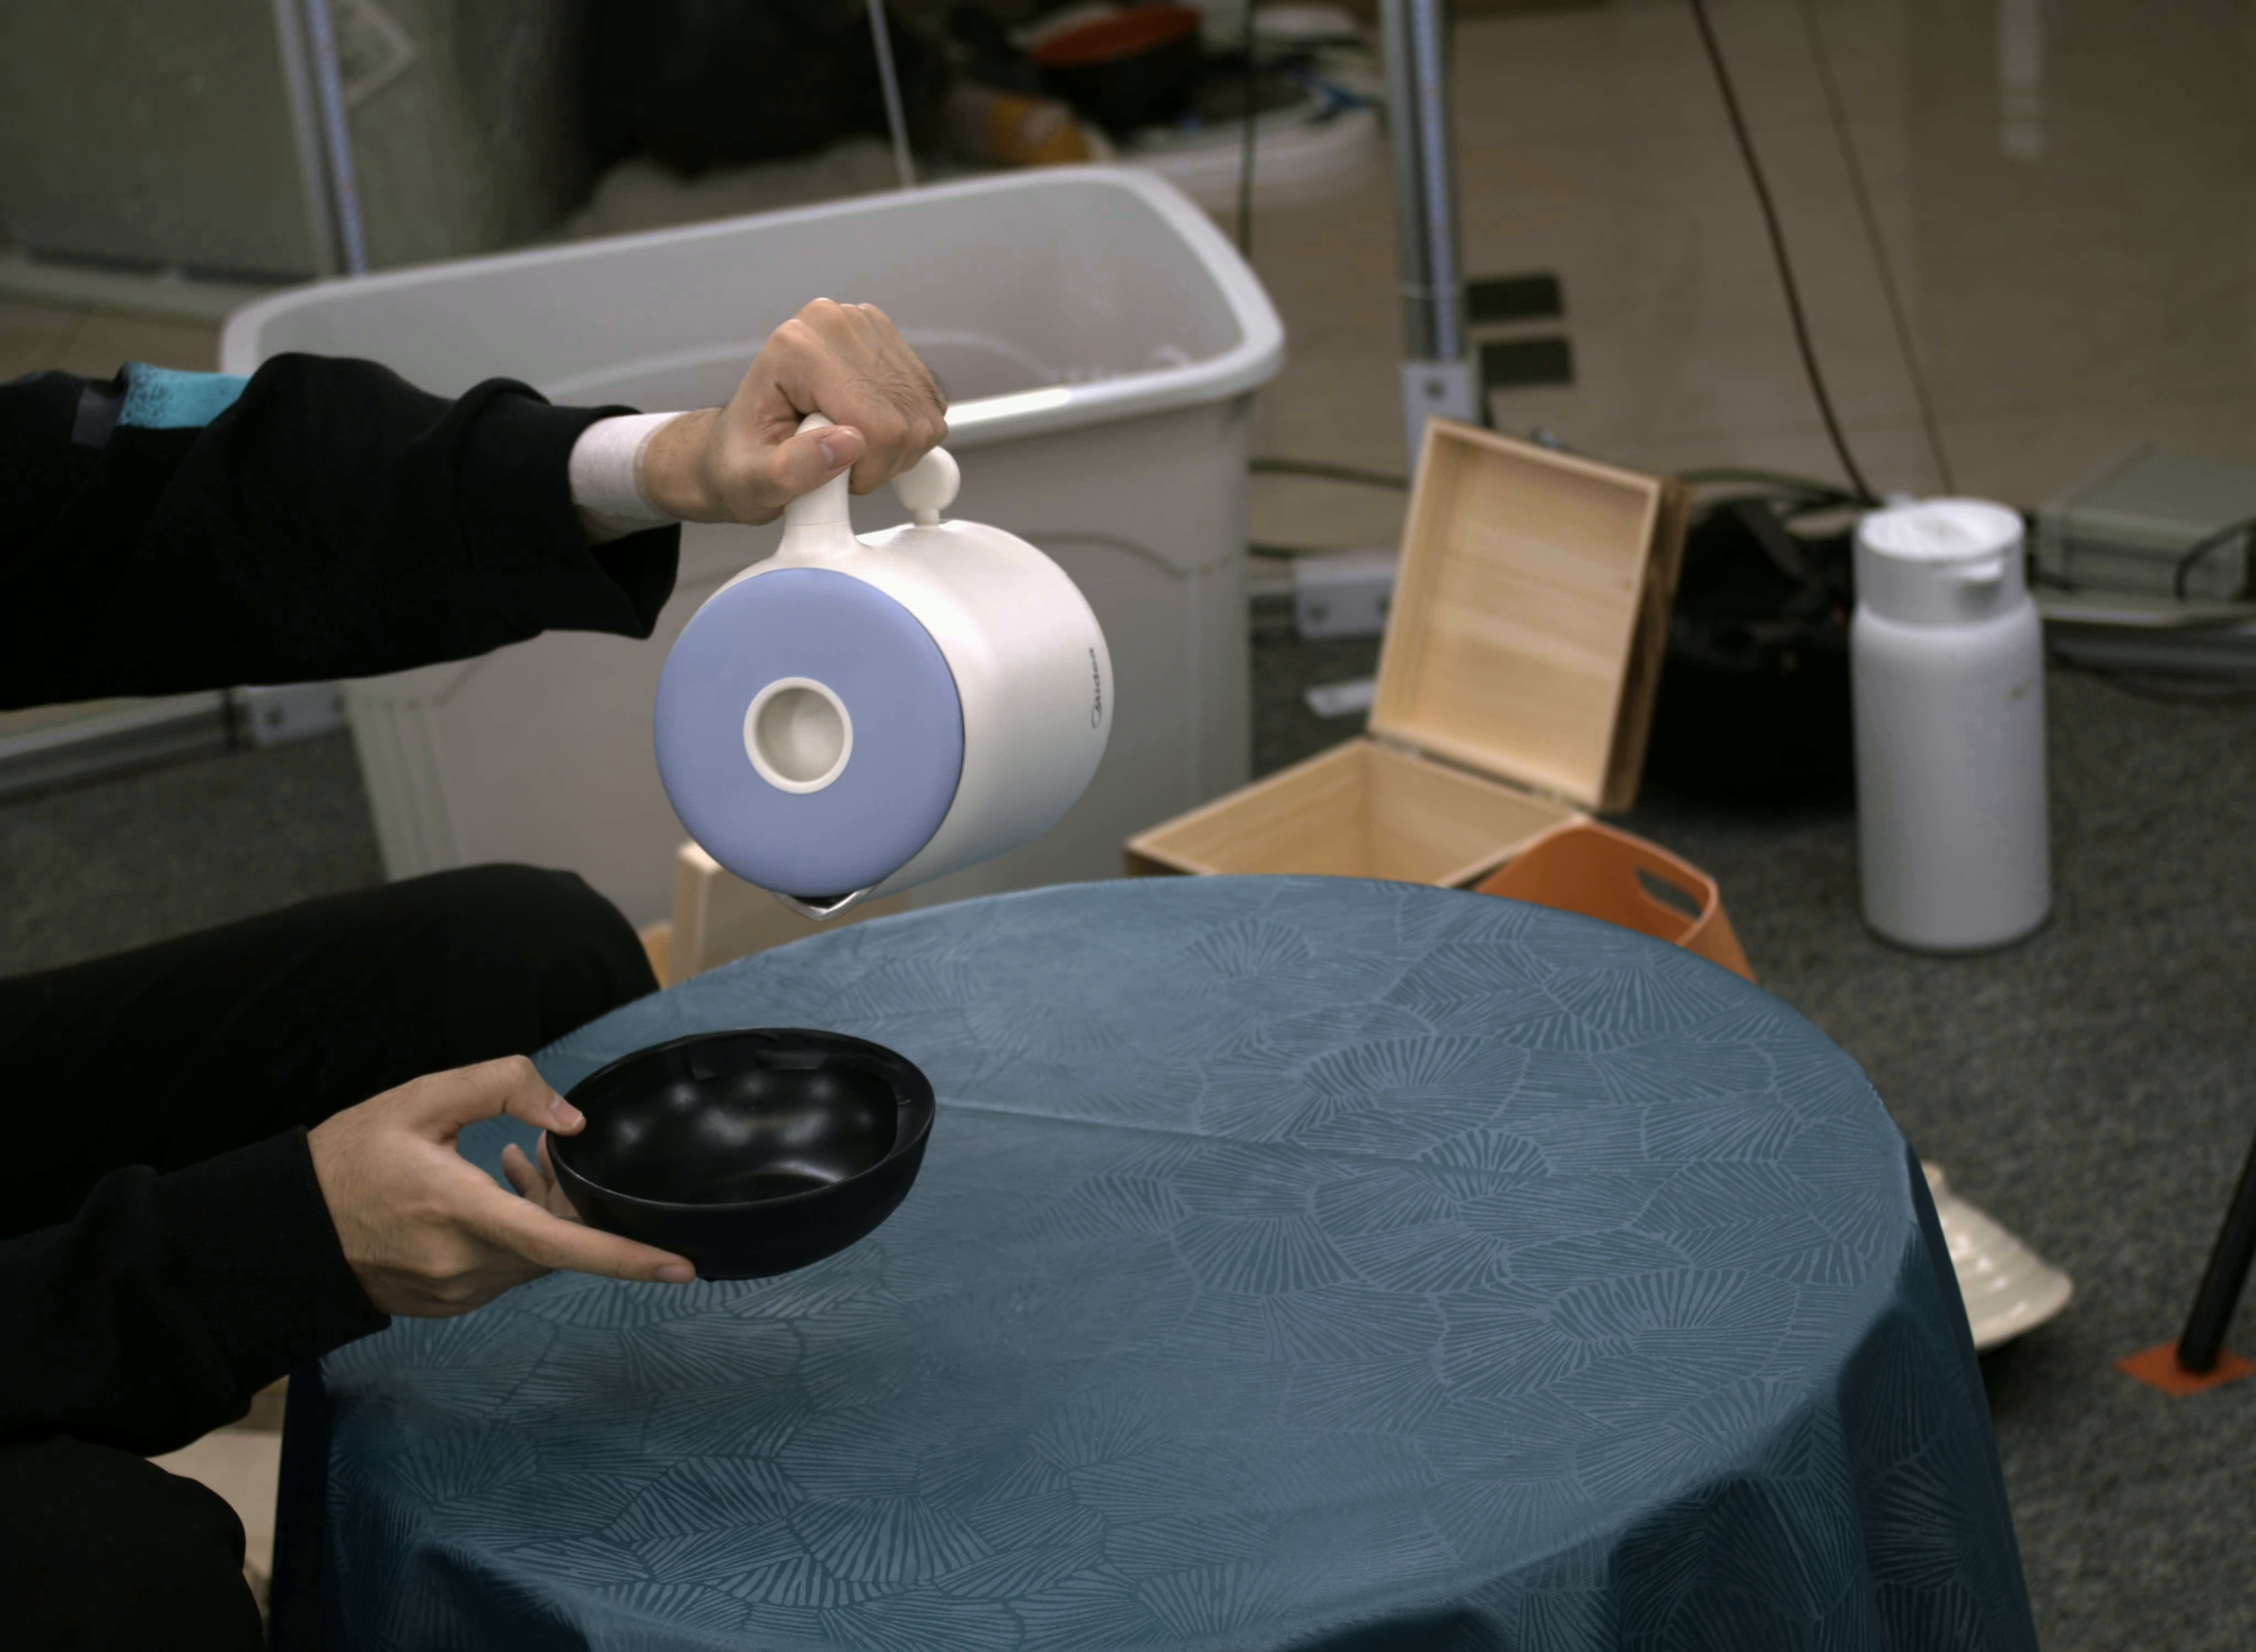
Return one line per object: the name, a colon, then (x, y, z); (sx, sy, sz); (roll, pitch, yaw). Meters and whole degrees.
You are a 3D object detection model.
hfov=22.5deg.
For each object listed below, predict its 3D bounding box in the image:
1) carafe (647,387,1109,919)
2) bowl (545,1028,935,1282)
carafe: (-0.094, -0.067, 2.089); (0.132, 0.192, 0.182); (-4, 4, 17)
bowl: (-0.135, 0.124, 2.017); (0.140, 0.050, 0.138); (-5, 24, 2)
